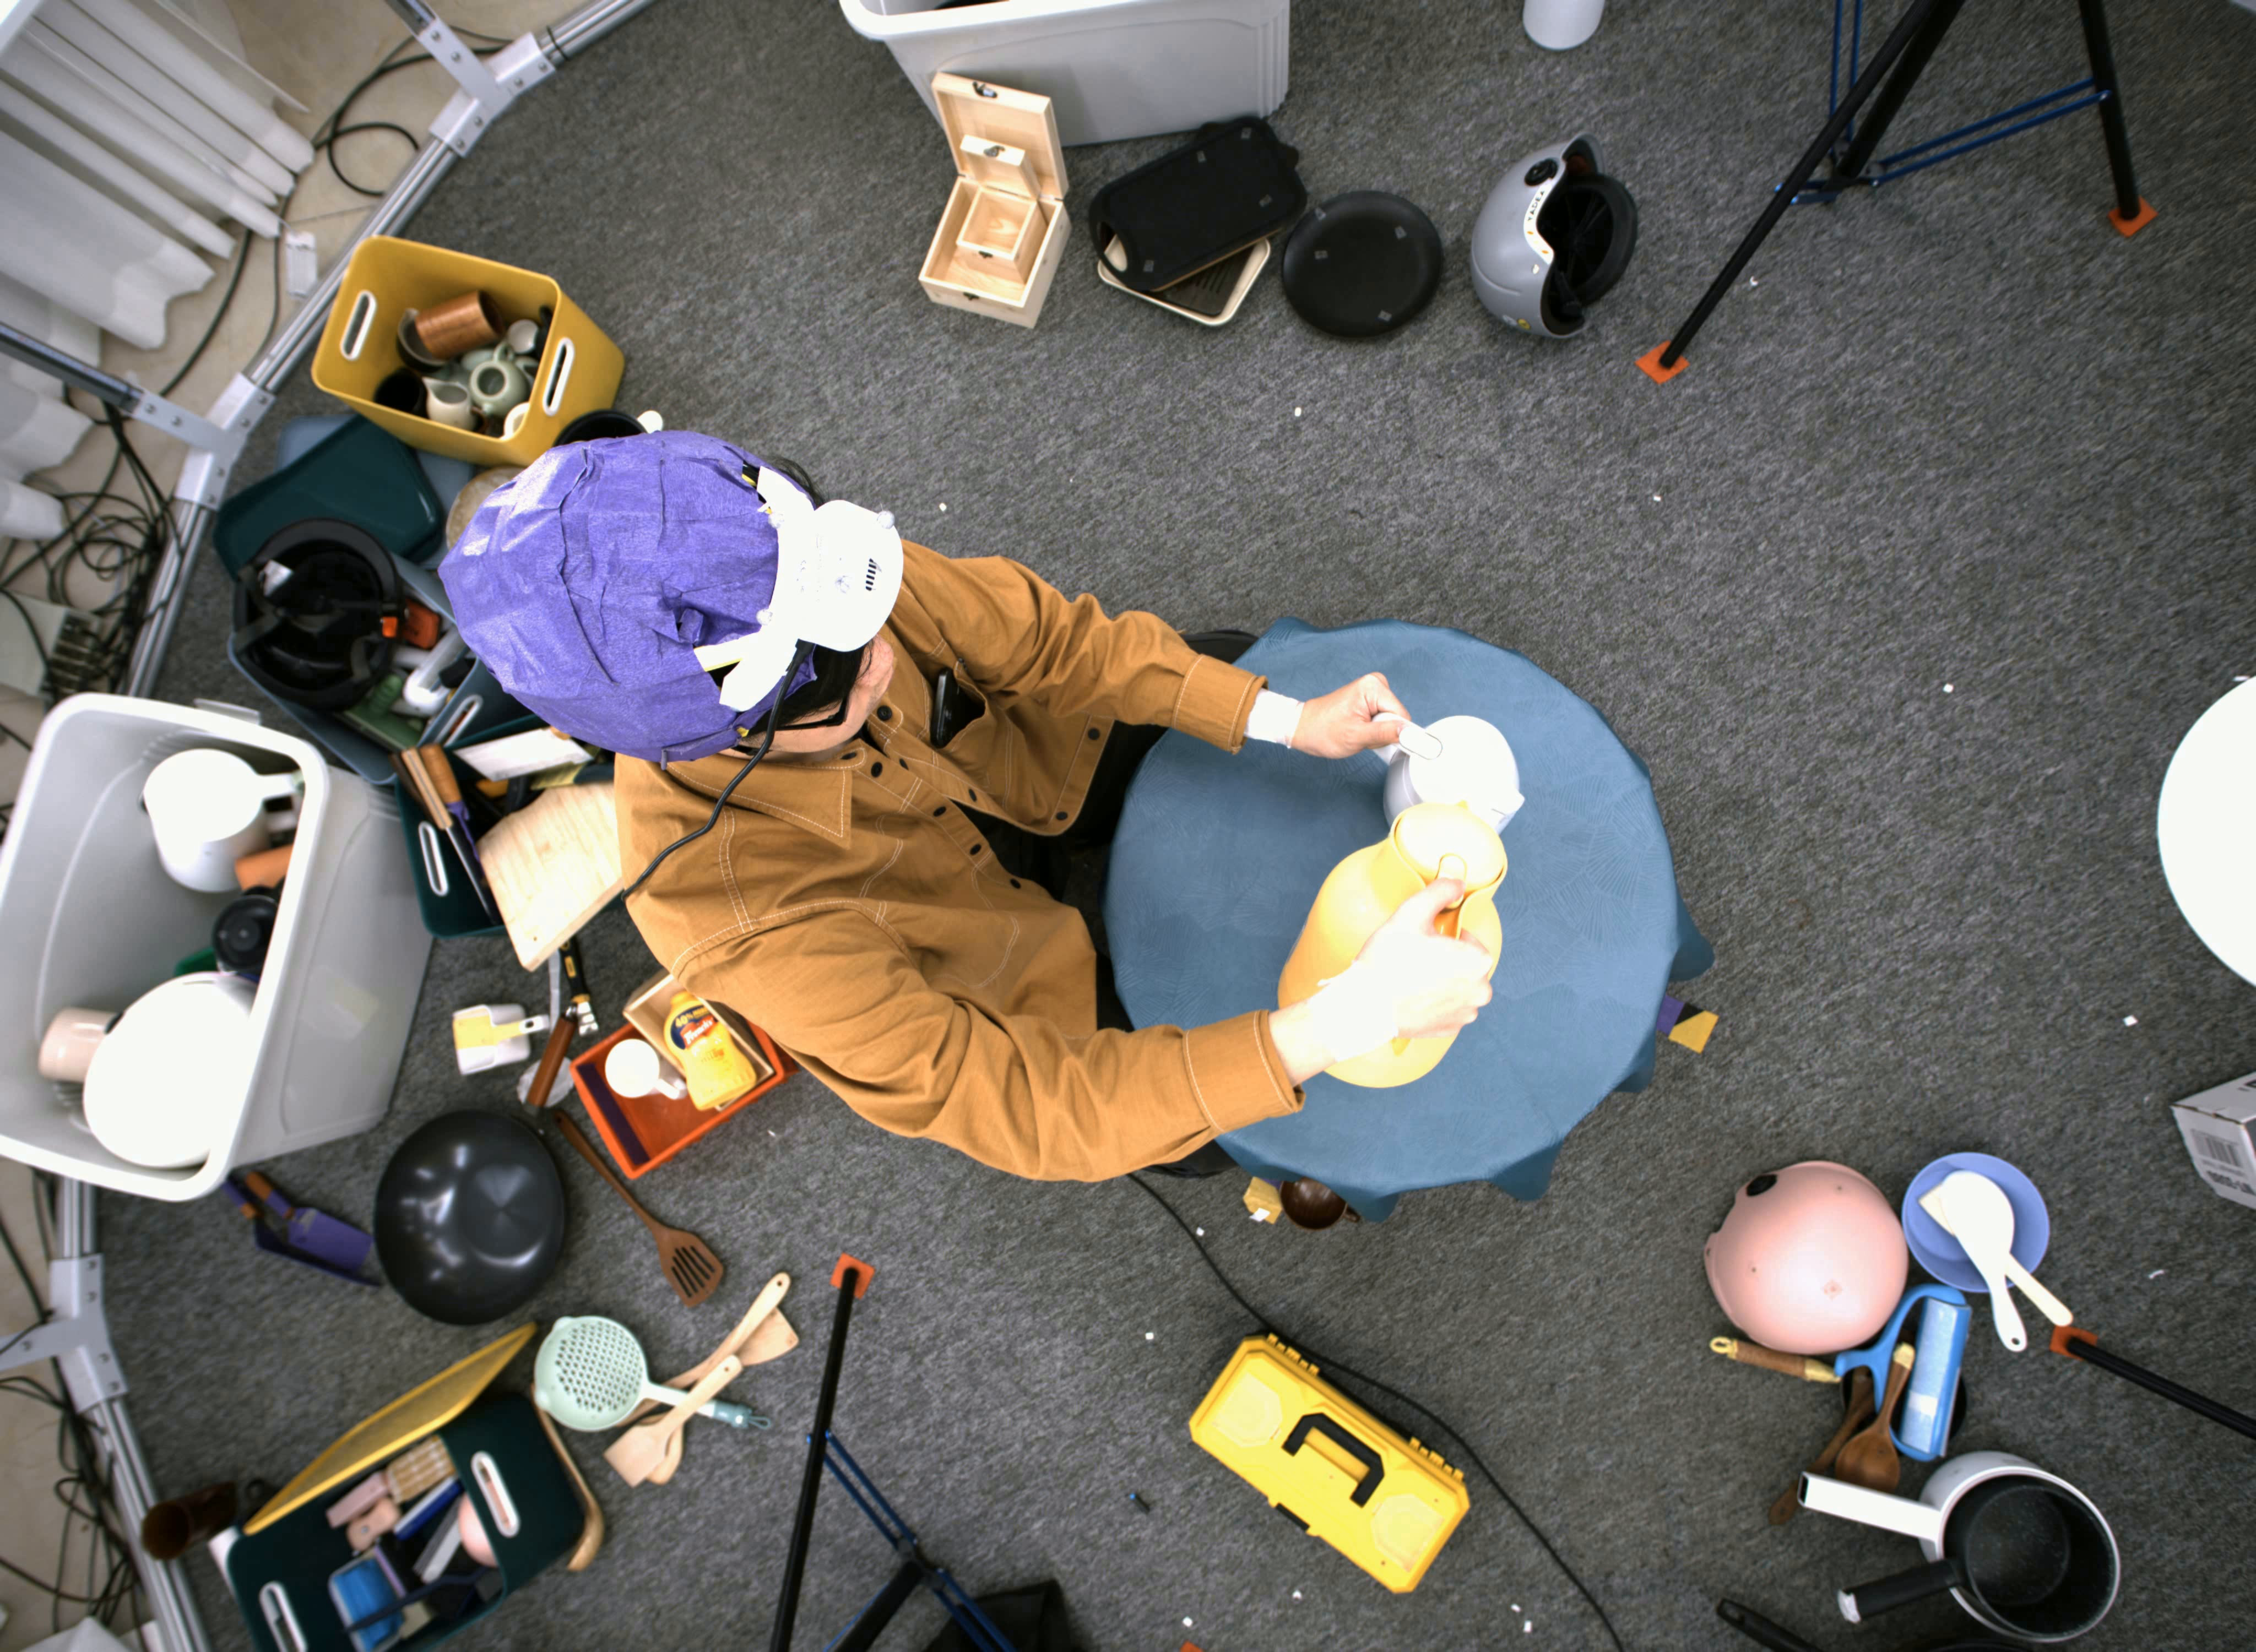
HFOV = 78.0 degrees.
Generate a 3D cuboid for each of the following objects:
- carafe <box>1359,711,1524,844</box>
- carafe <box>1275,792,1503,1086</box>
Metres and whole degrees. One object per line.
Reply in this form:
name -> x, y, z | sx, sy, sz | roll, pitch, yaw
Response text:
carafe -> 0.299, -0.051, 1.336 | 0.167, 0.249, 0.133 | 34, 92, 12
carafe -> 0.225, 0.108, 1.171 | 0.163, 0.267, 0.197 | 17, 46, 2
